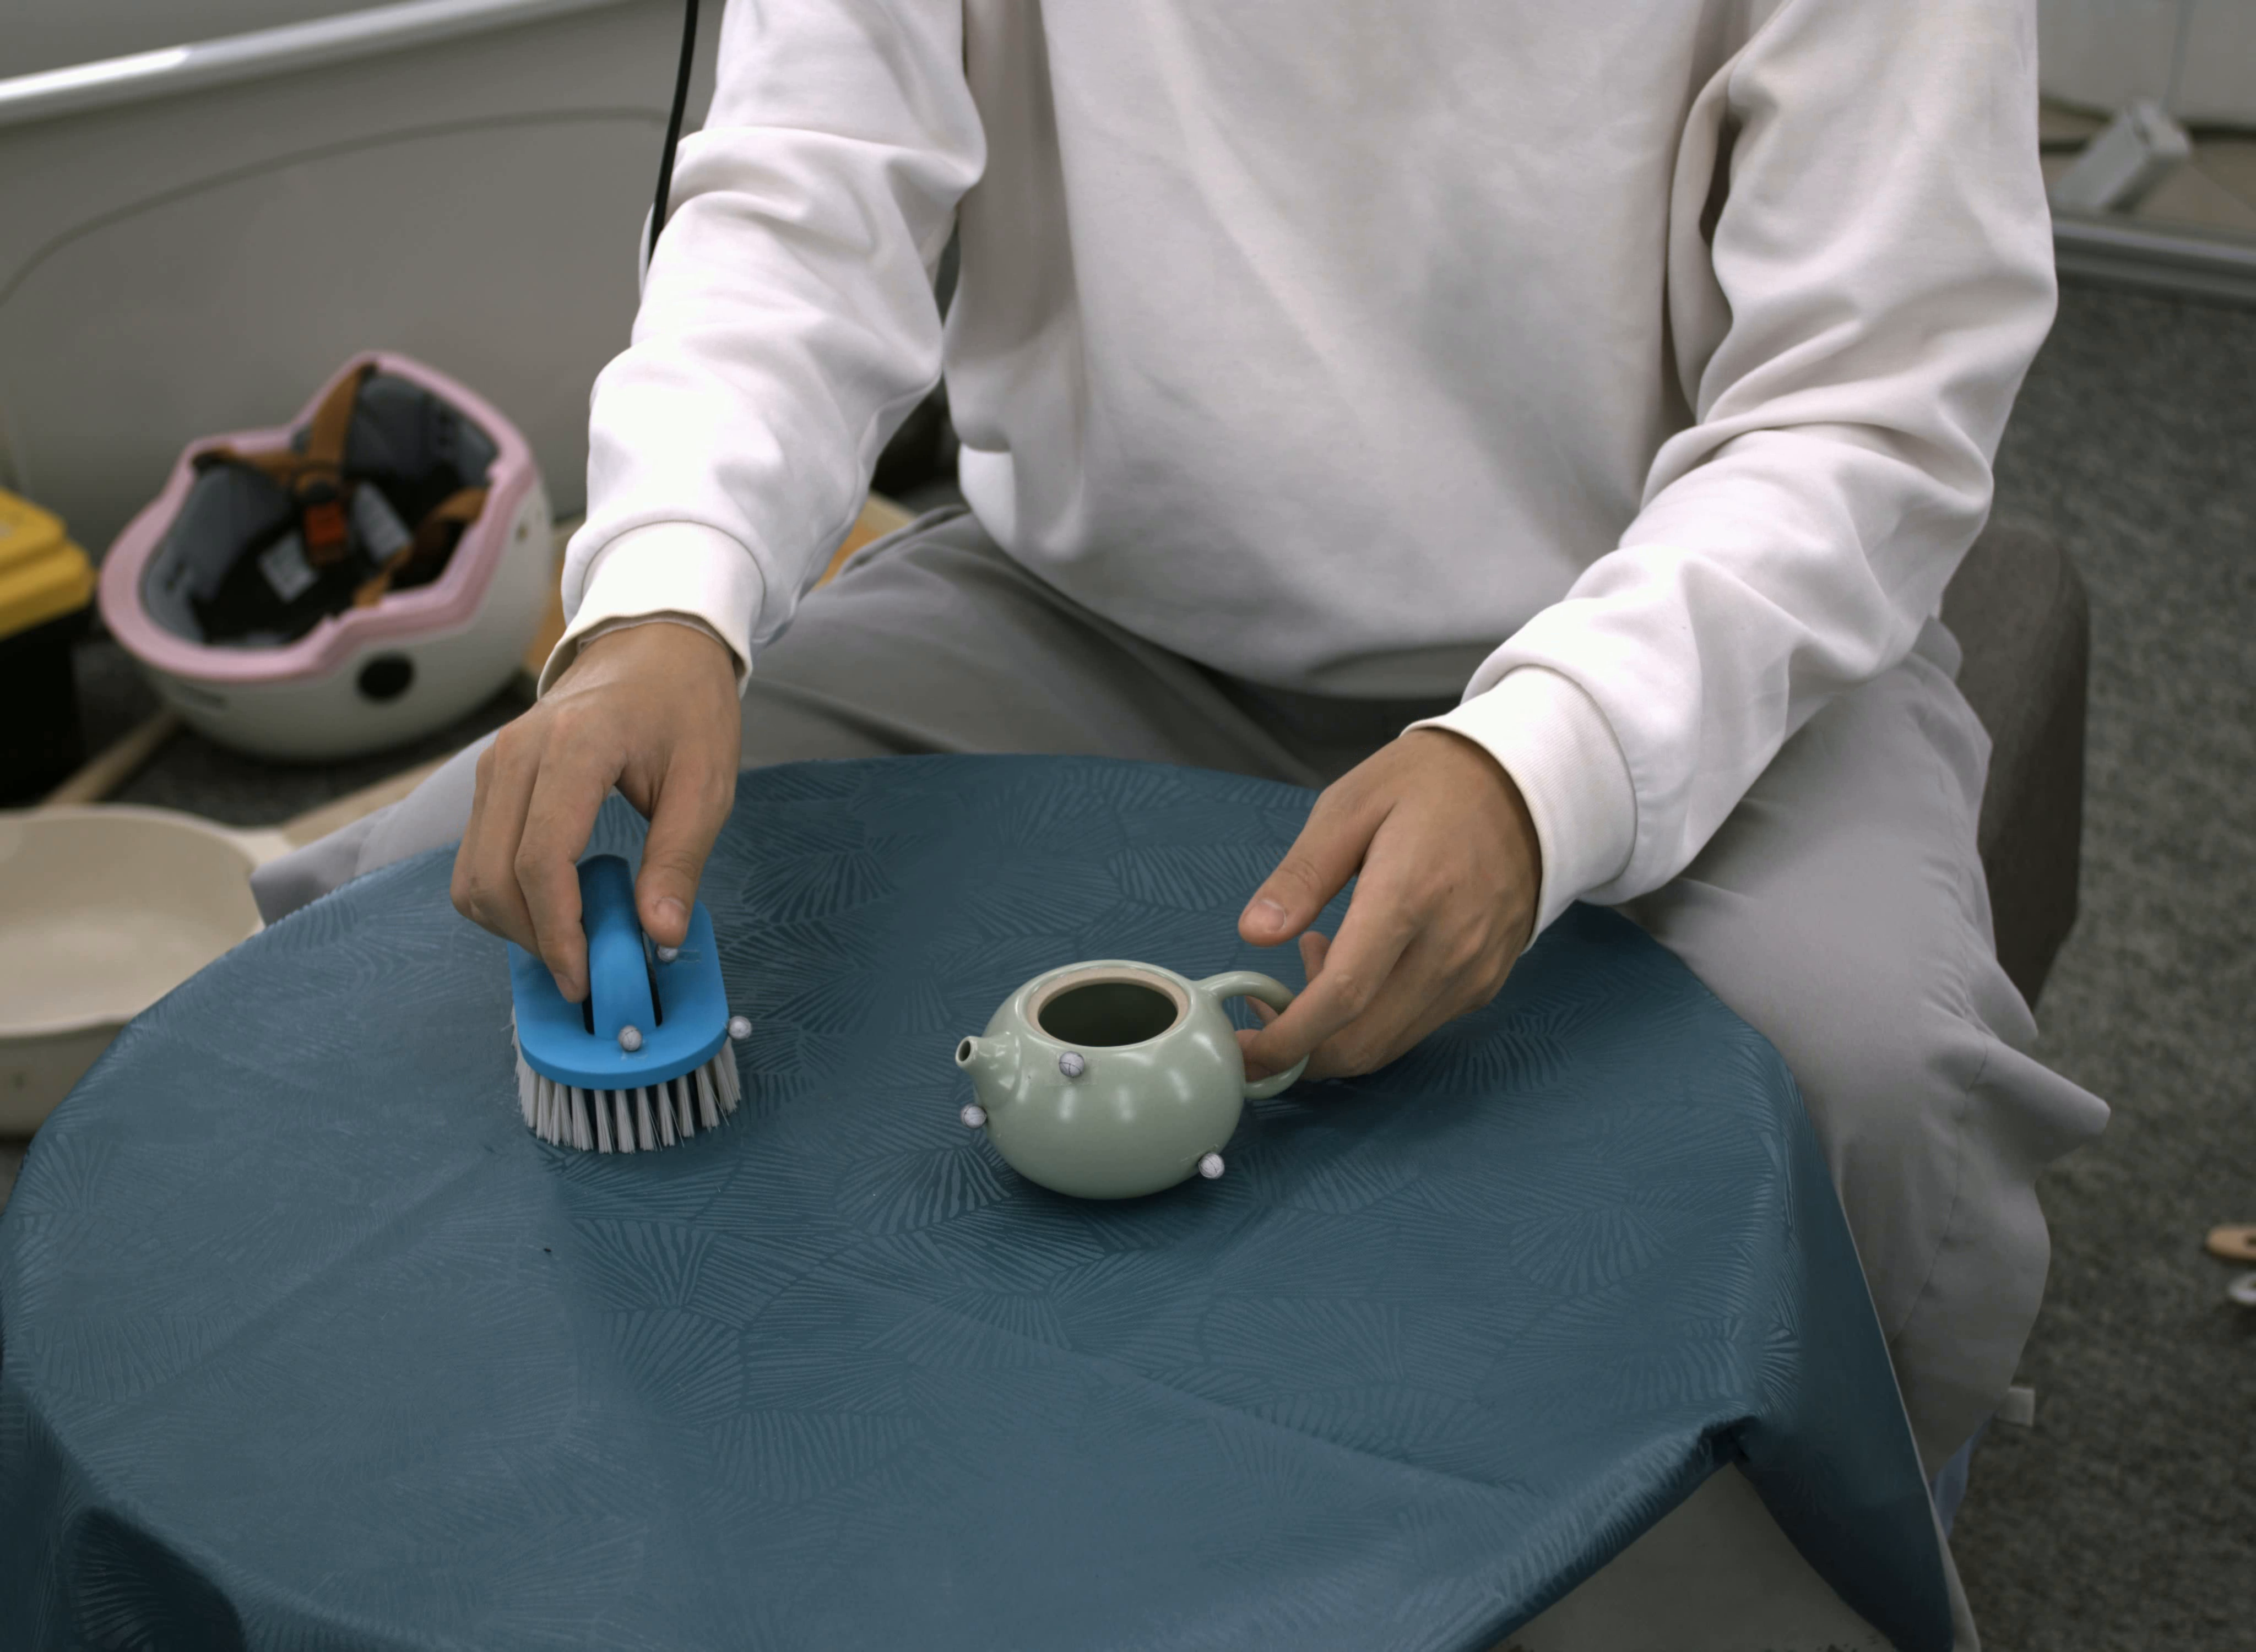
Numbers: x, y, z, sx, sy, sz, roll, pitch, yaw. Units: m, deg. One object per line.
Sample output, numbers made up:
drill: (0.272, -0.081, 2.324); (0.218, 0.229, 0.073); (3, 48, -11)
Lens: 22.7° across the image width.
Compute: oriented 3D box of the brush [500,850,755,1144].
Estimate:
brush: (-0.177, 0.051, 1.948); (0.084, 0.063, 0.143); (-10, 26, -3)

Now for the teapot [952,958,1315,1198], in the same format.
teapot: (0.003, 0.083, 1.875); (0.129, 0.060, 0.092); (-11, 26, -18)
